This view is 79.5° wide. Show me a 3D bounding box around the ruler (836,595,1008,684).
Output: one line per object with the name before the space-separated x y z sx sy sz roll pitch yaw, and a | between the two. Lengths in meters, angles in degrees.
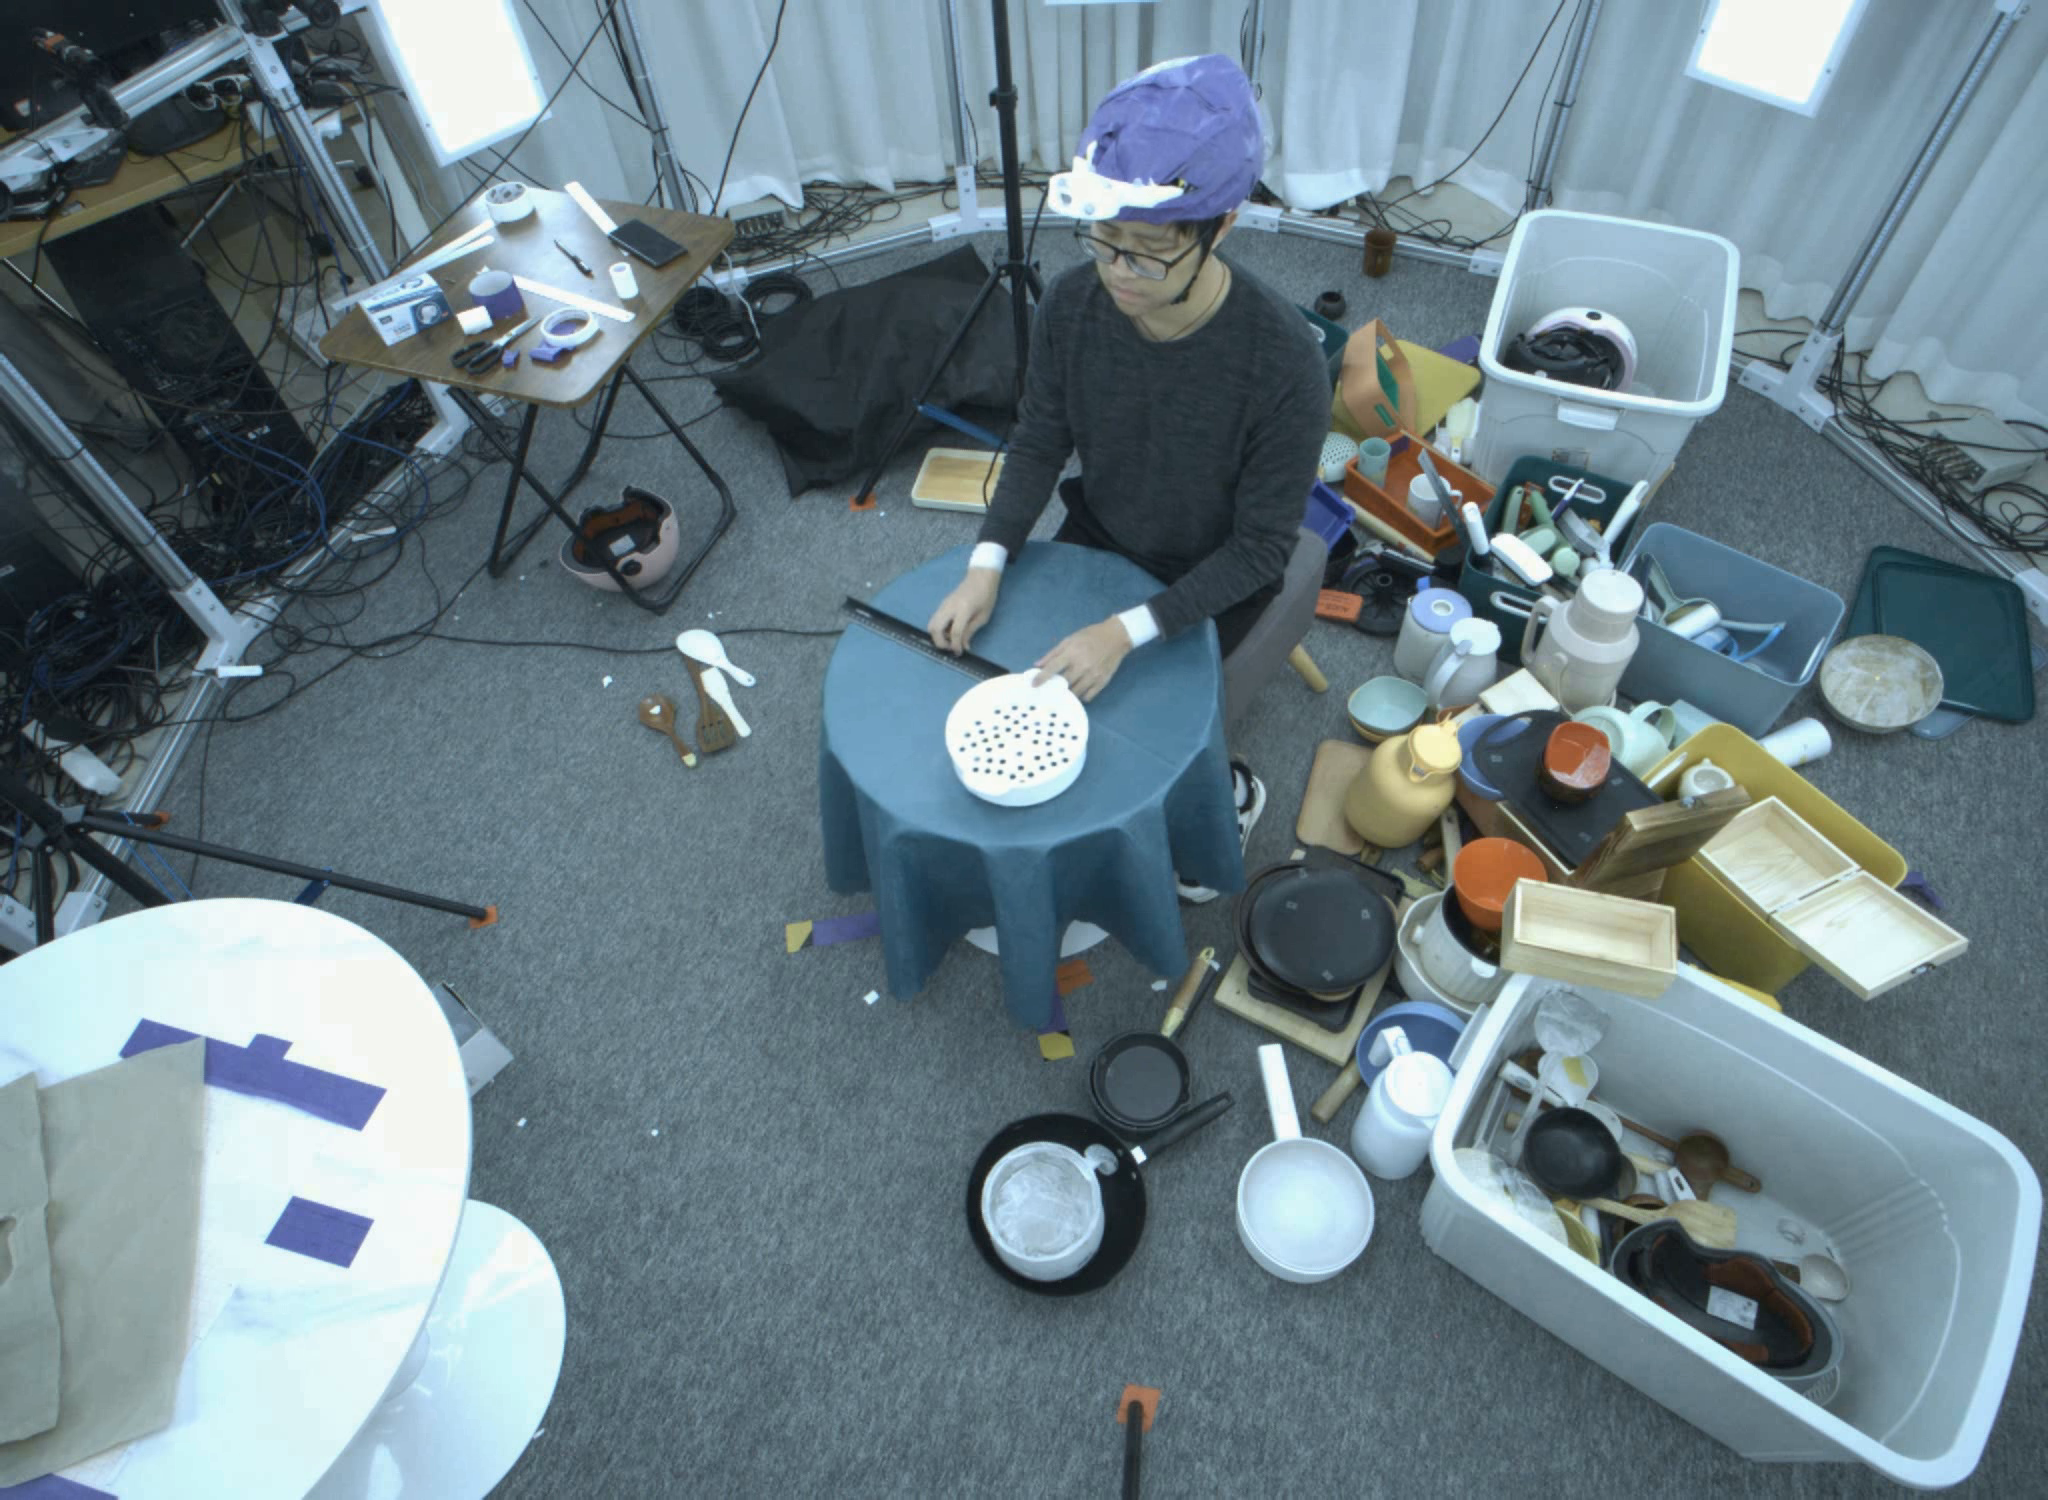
ruler | -0.165 -0.172 1.906 0.308 0.017 0.039 26 63 19

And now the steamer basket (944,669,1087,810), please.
steamer basket | -0.010 -0.009 1.752 0.199 0.070 0.230 19 60 15
